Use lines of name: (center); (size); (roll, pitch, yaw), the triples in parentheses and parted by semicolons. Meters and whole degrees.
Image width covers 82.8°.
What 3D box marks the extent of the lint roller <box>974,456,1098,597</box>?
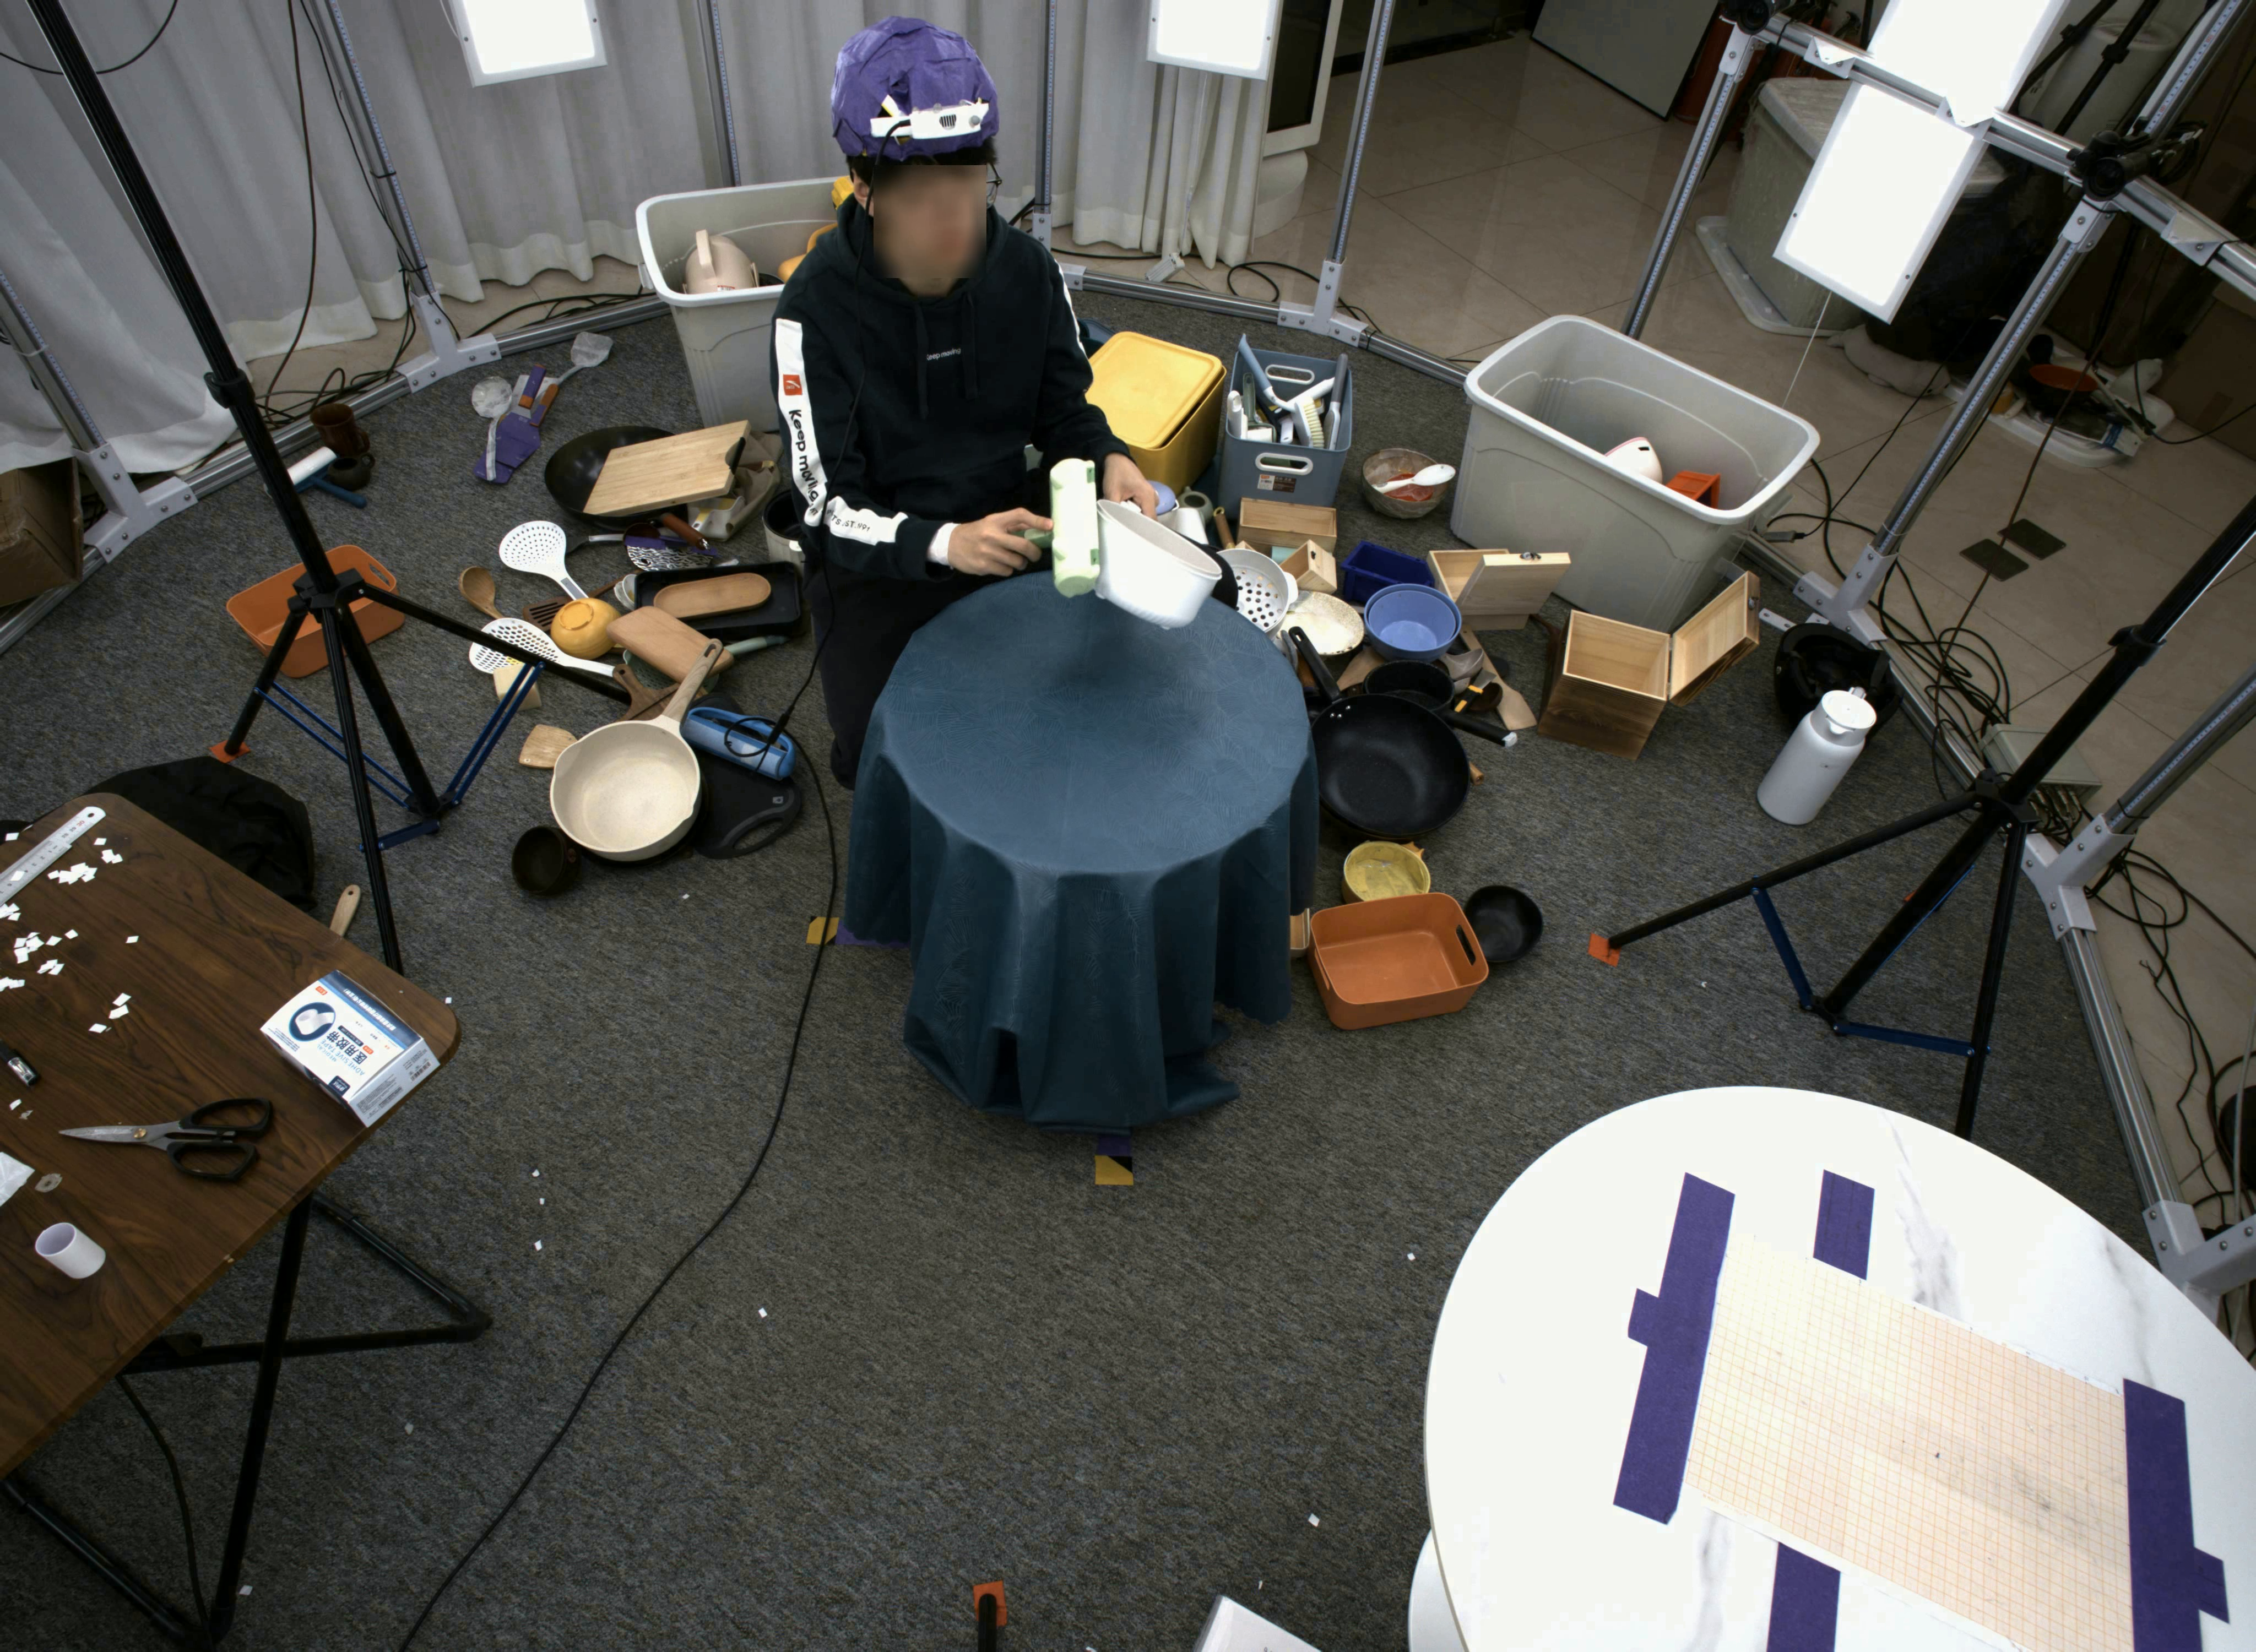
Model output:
lint roller: (-0.128, -0.390, 1.701); (0.183, 0.080, 0.203); (-10, 62, 14)

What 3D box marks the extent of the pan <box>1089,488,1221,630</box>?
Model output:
pan: (0.005, -0.392, 1.838); (0.199, 0.101, 0.362); (23, 21, -22)
